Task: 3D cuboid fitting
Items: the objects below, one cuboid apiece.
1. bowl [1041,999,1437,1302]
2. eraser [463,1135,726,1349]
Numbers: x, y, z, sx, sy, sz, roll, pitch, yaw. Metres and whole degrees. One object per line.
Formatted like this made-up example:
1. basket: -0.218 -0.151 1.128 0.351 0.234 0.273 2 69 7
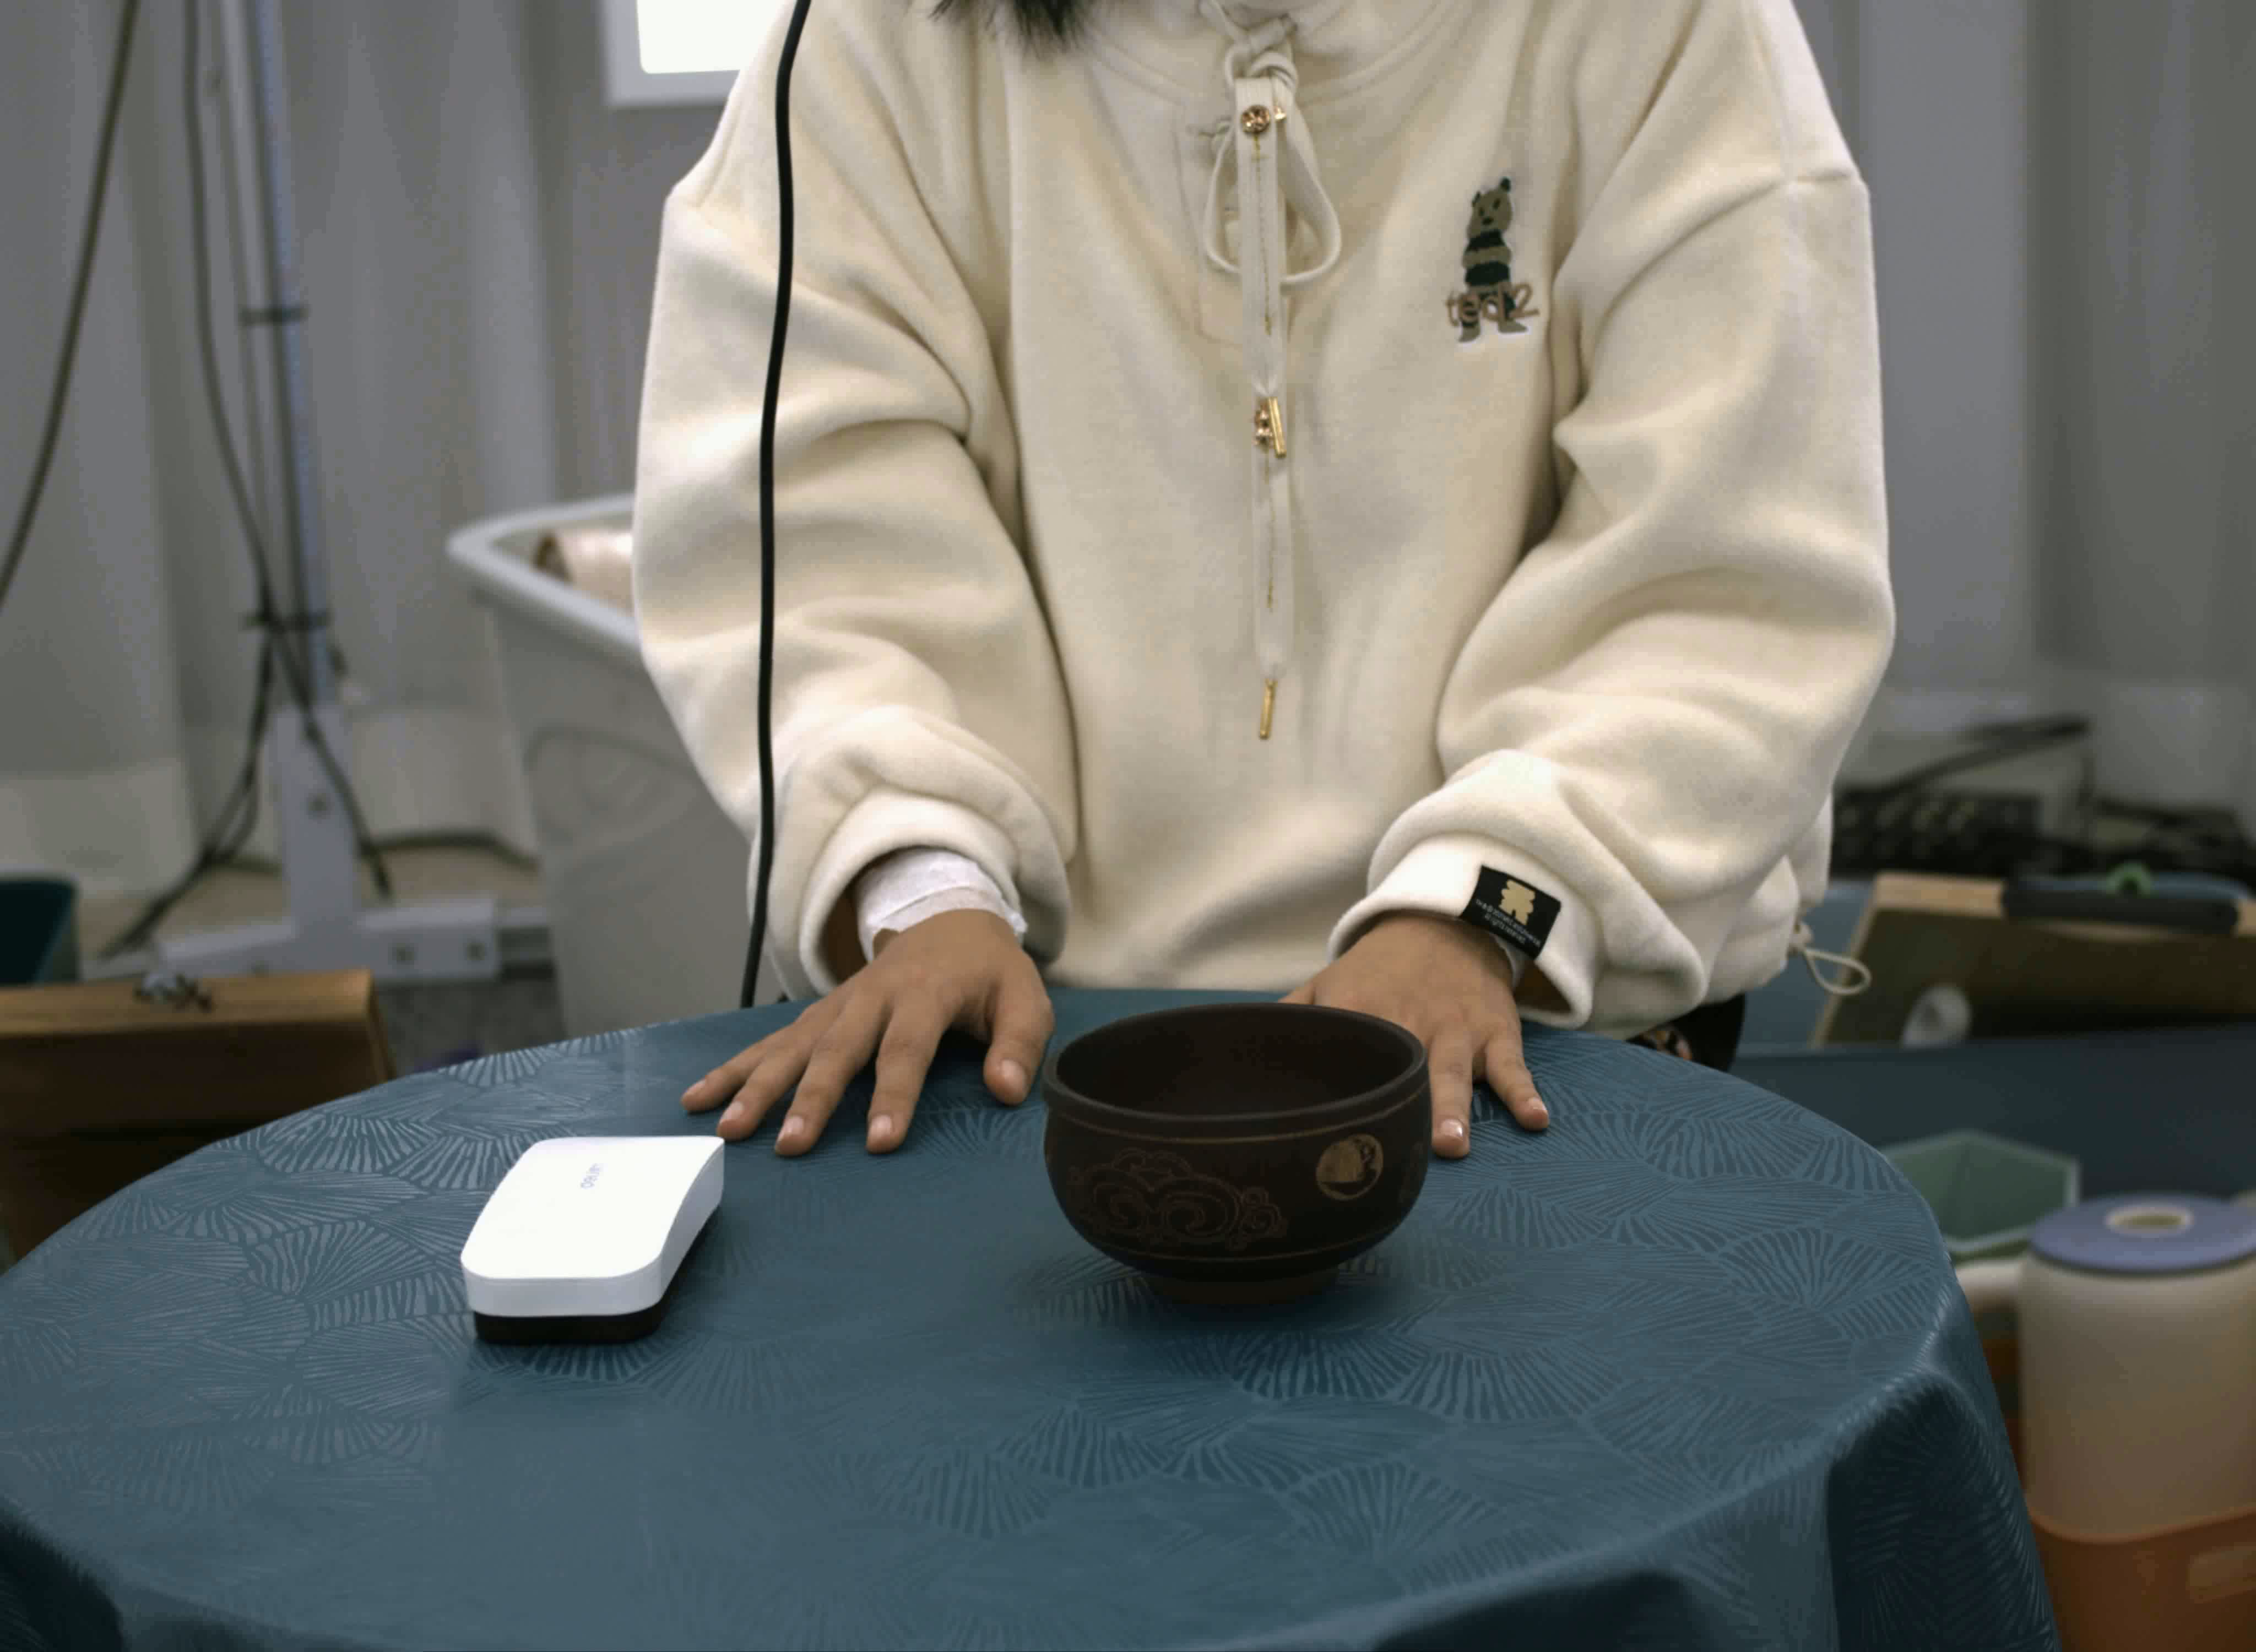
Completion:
1. bowl: 0.033 0.100 1.624 0.117 0.069 0.119 -1 14 0
2. eraser: -0.159 0.122 1.660 0.063 0.034 0.132 -1 15 7
